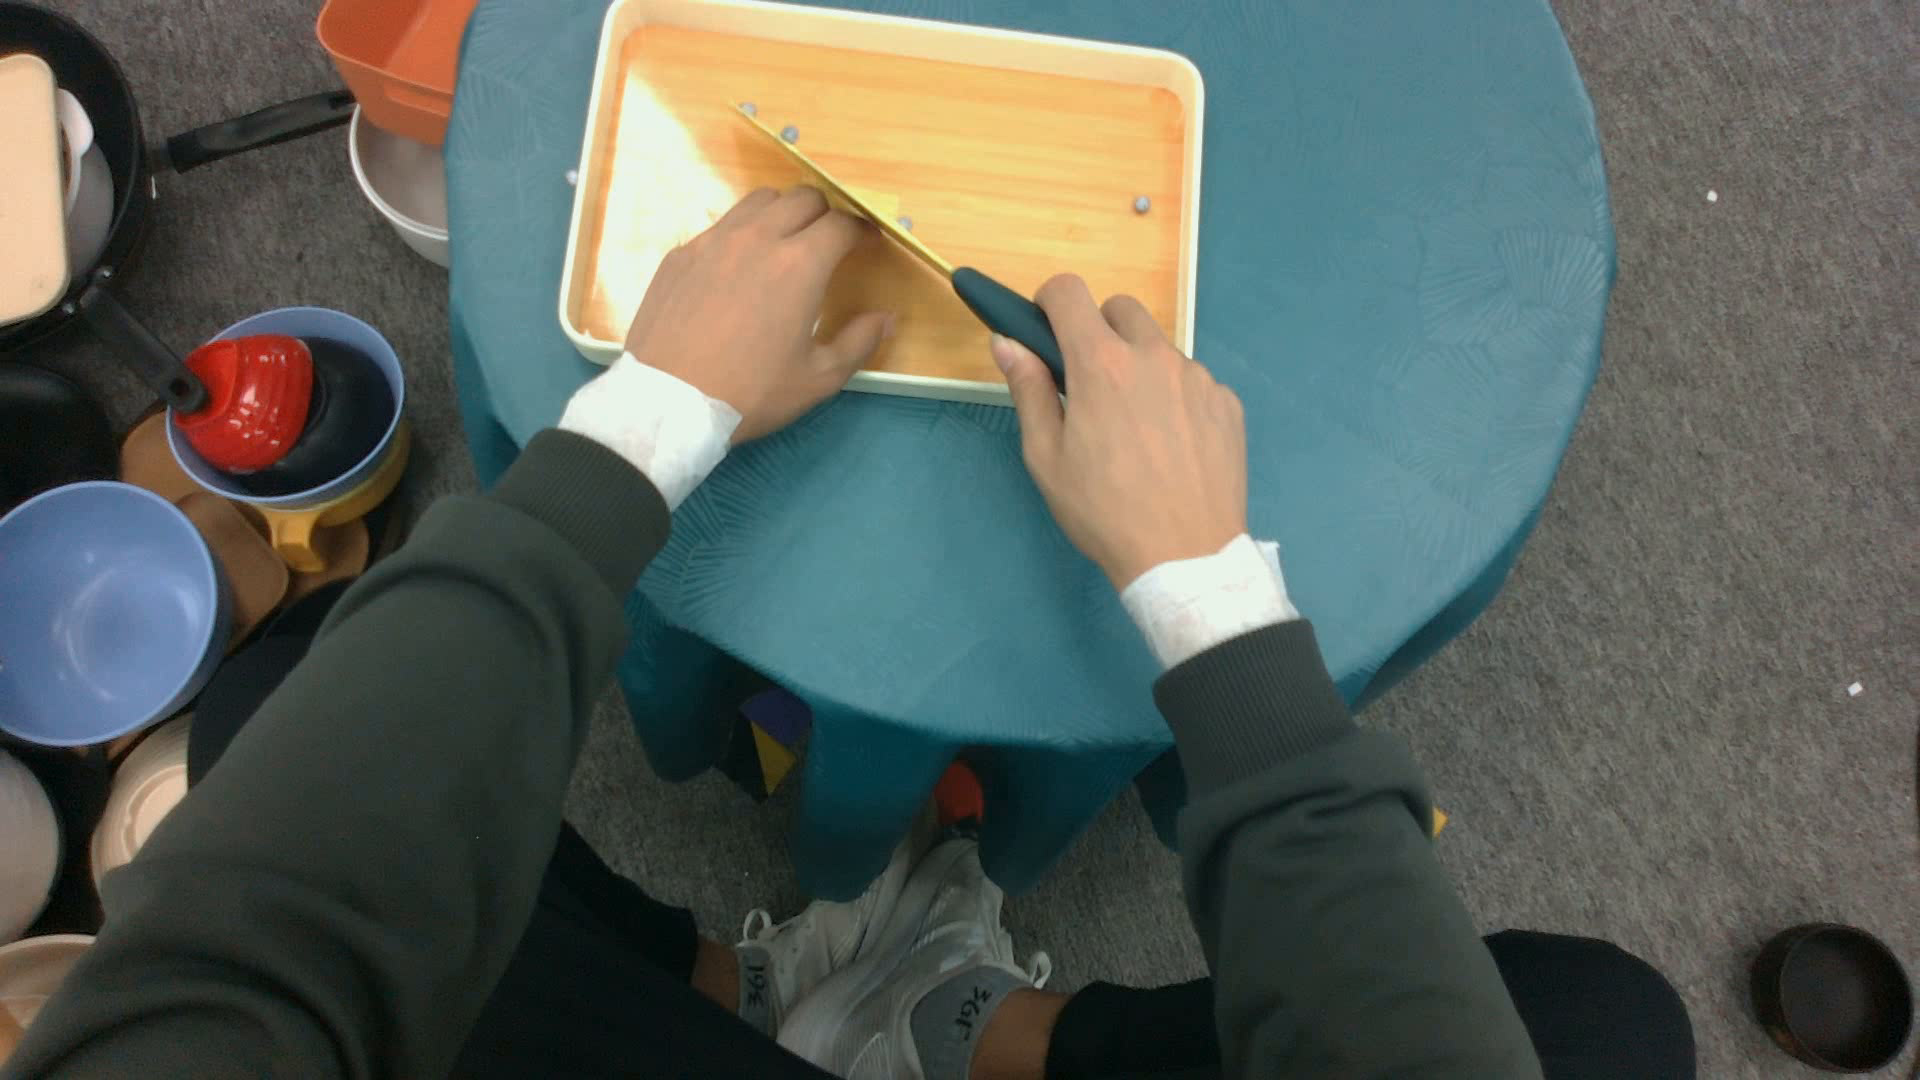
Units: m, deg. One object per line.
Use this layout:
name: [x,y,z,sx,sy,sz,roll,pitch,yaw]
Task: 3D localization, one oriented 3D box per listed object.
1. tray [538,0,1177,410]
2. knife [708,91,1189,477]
tray: [-0.044,-0.167,0.683,0.300,0.027,0.192,5,75,-4]
knife: [-0.011,-0.123,0.634,0.289,0.081,0.027,40,98,11]
